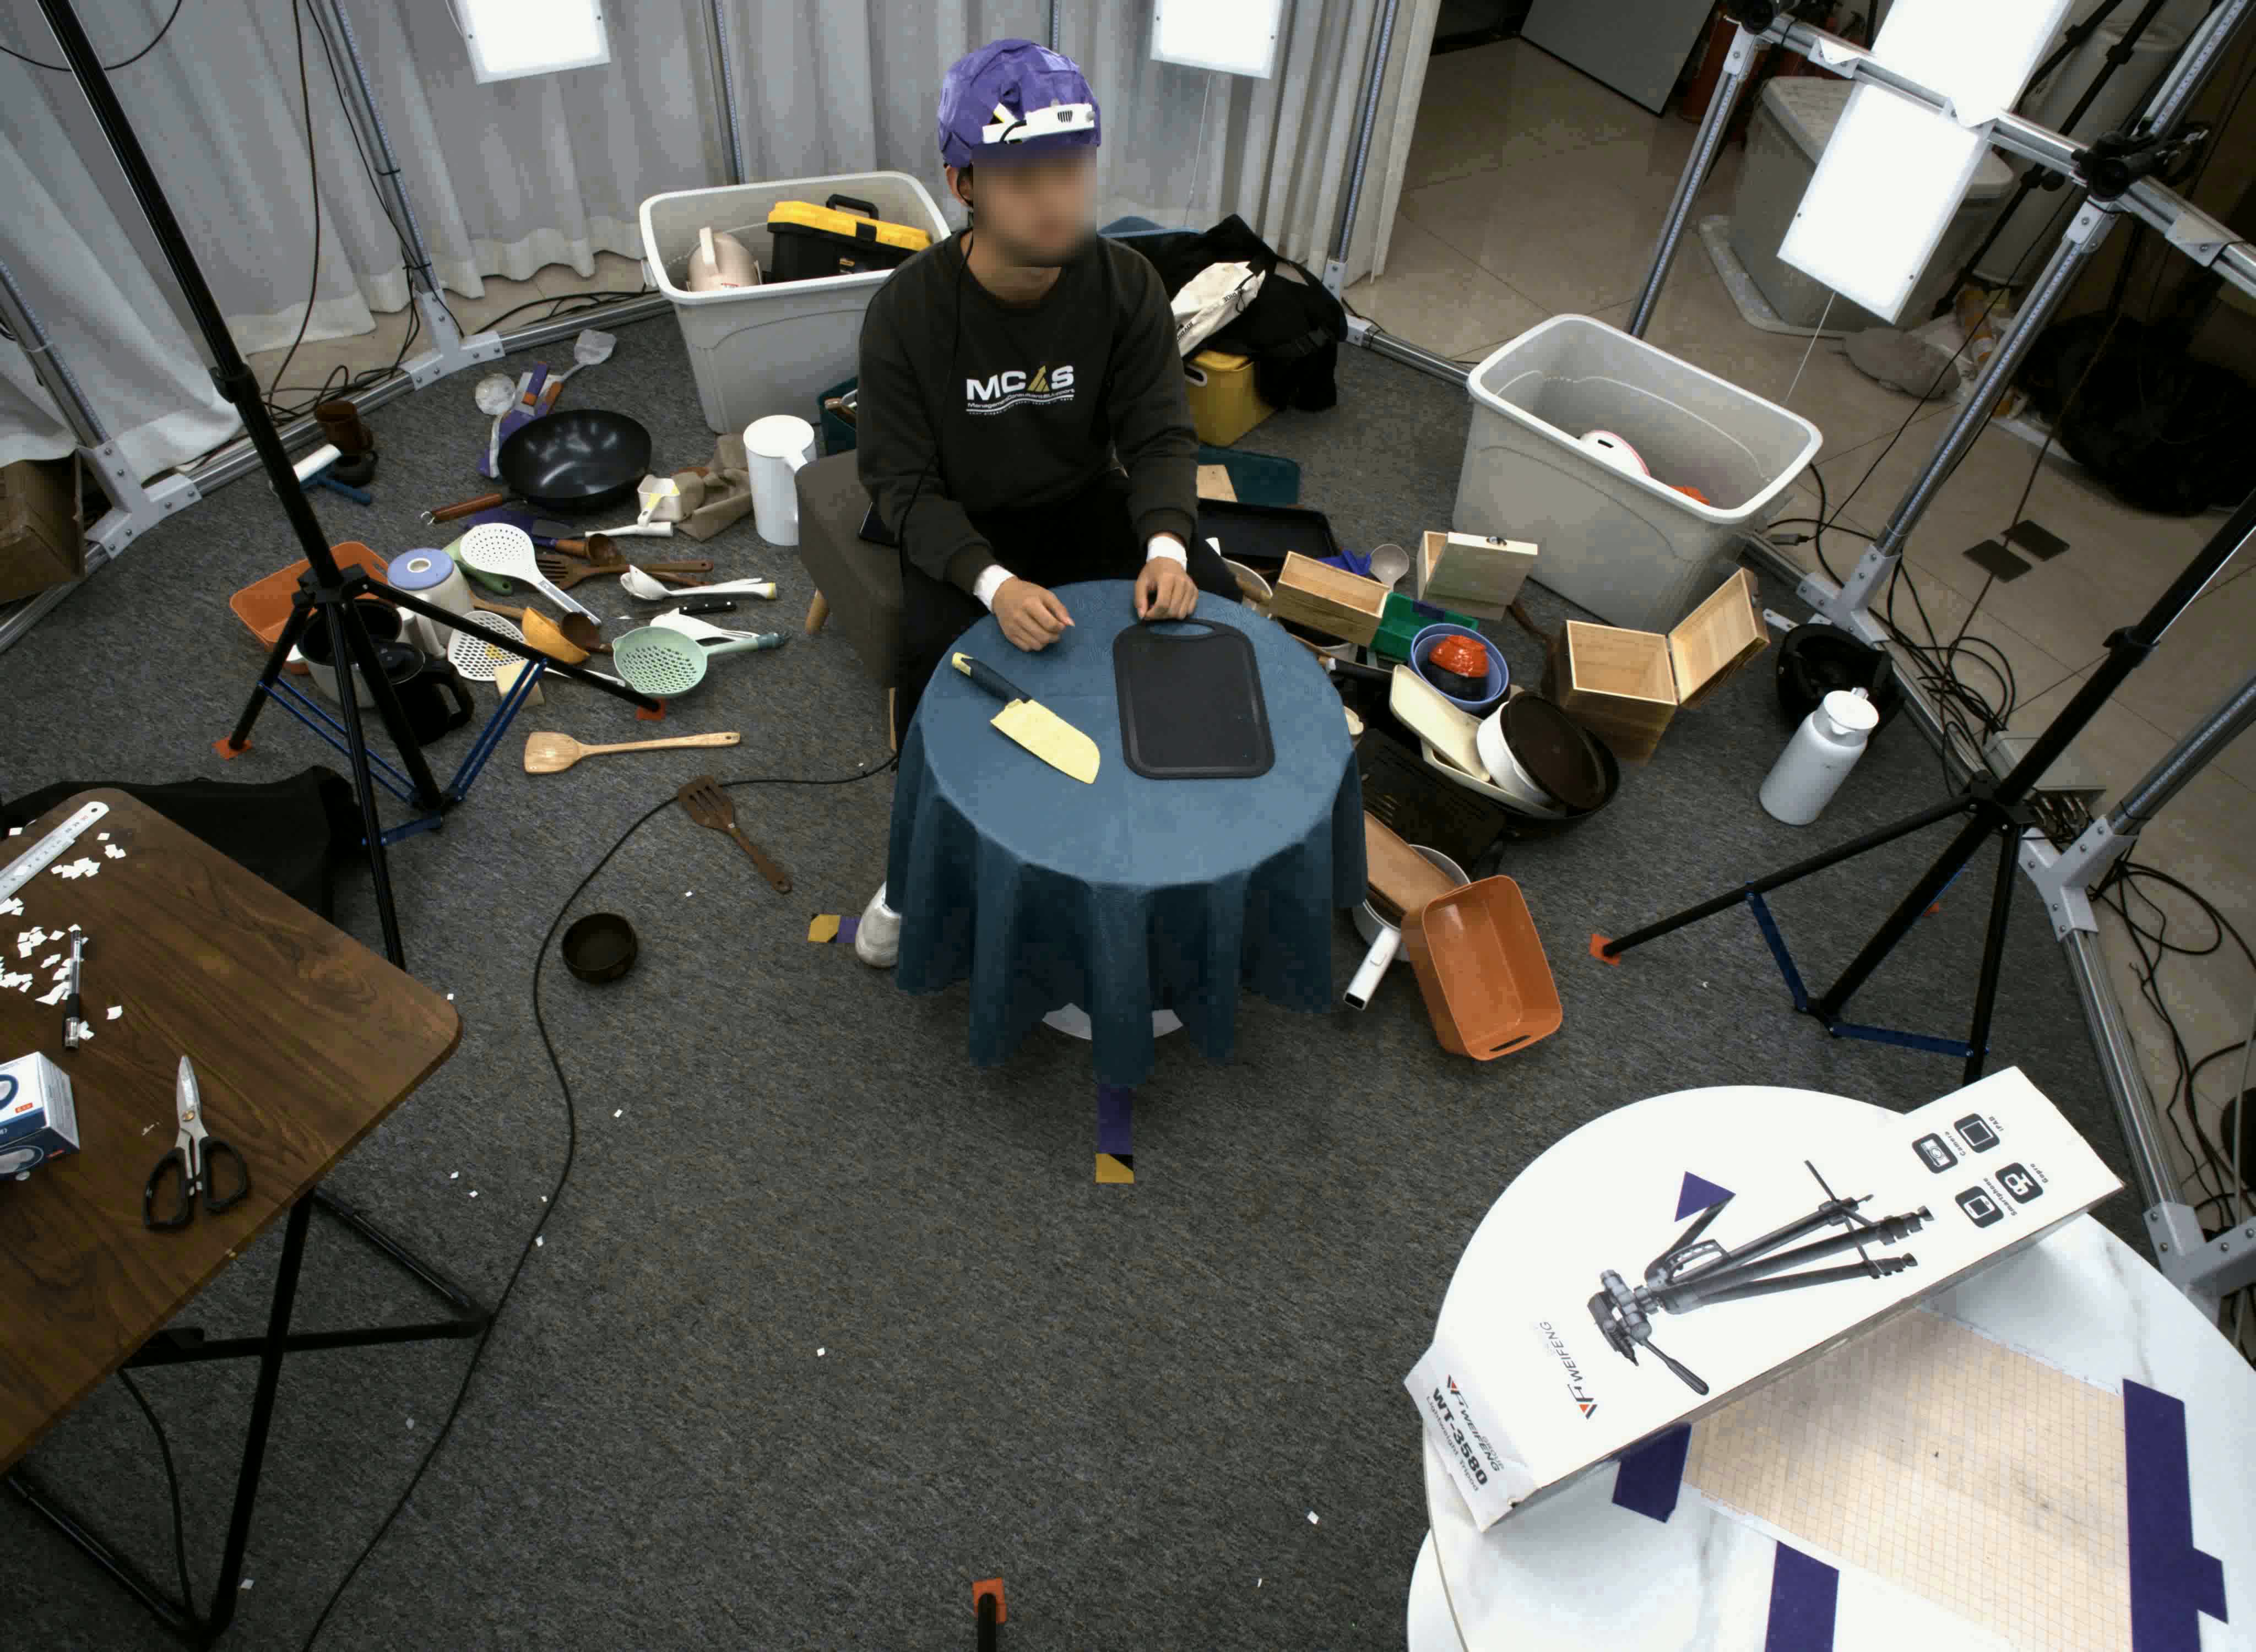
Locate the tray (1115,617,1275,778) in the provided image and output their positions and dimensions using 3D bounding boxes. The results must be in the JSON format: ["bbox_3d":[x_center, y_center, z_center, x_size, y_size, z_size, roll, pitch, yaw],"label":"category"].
[{"bbox_3d":[0.090,-0.192,1.835,0.211,0.009,0.333,-1,49,-4],"label":"tray"}]

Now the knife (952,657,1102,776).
[{"bbox_3d":[-0.147,-0.151,1.779,0.293,0.026,0.082,37,55,24],"label":"knife"}]
